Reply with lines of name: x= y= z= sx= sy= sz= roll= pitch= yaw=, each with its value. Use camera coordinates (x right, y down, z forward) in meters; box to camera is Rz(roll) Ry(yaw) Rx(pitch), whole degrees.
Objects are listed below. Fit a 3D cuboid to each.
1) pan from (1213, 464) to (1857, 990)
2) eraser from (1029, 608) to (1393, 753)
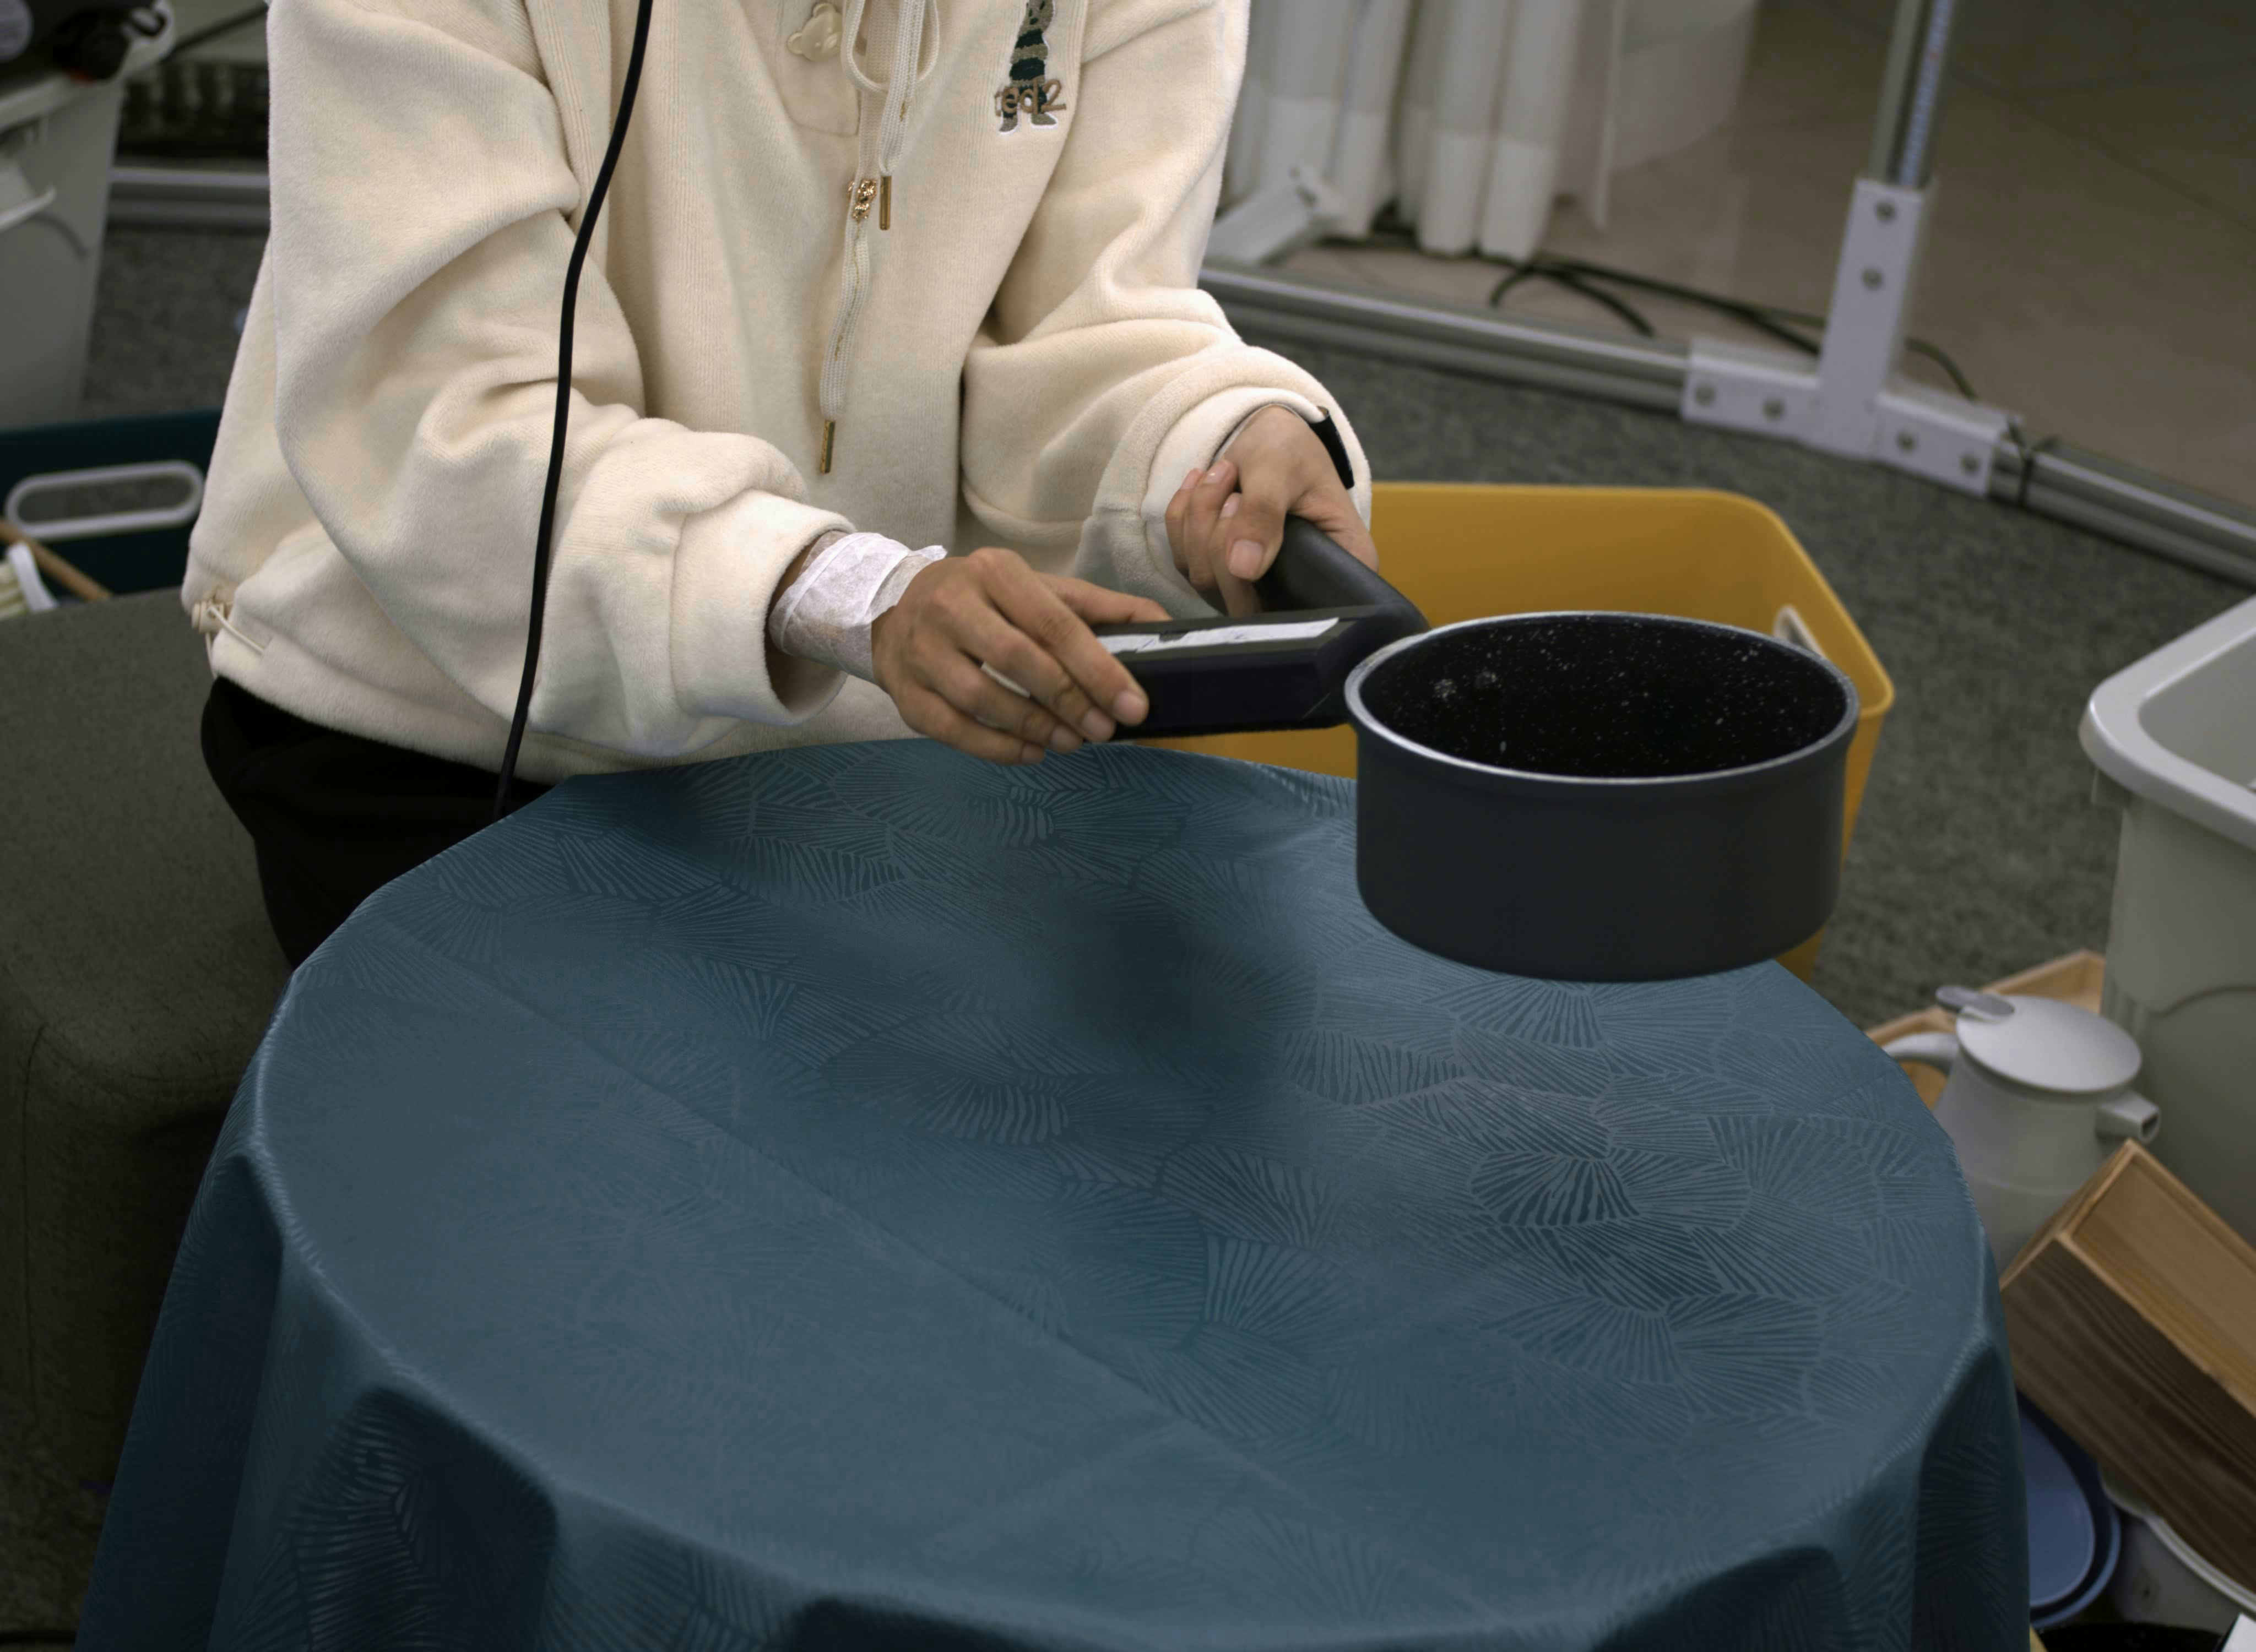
pan: x=0.119 y=-0.038 z=1.848 sx=0.171 sy=0.086 sz=0.331 roll=-11 pitch=25 yaw=-25
eraser: x=0.030 y=-0.051 z=1.853 sx=0.126 sy=0.030 sz=0.053 roll=-5 pitch=19 yaw=37
